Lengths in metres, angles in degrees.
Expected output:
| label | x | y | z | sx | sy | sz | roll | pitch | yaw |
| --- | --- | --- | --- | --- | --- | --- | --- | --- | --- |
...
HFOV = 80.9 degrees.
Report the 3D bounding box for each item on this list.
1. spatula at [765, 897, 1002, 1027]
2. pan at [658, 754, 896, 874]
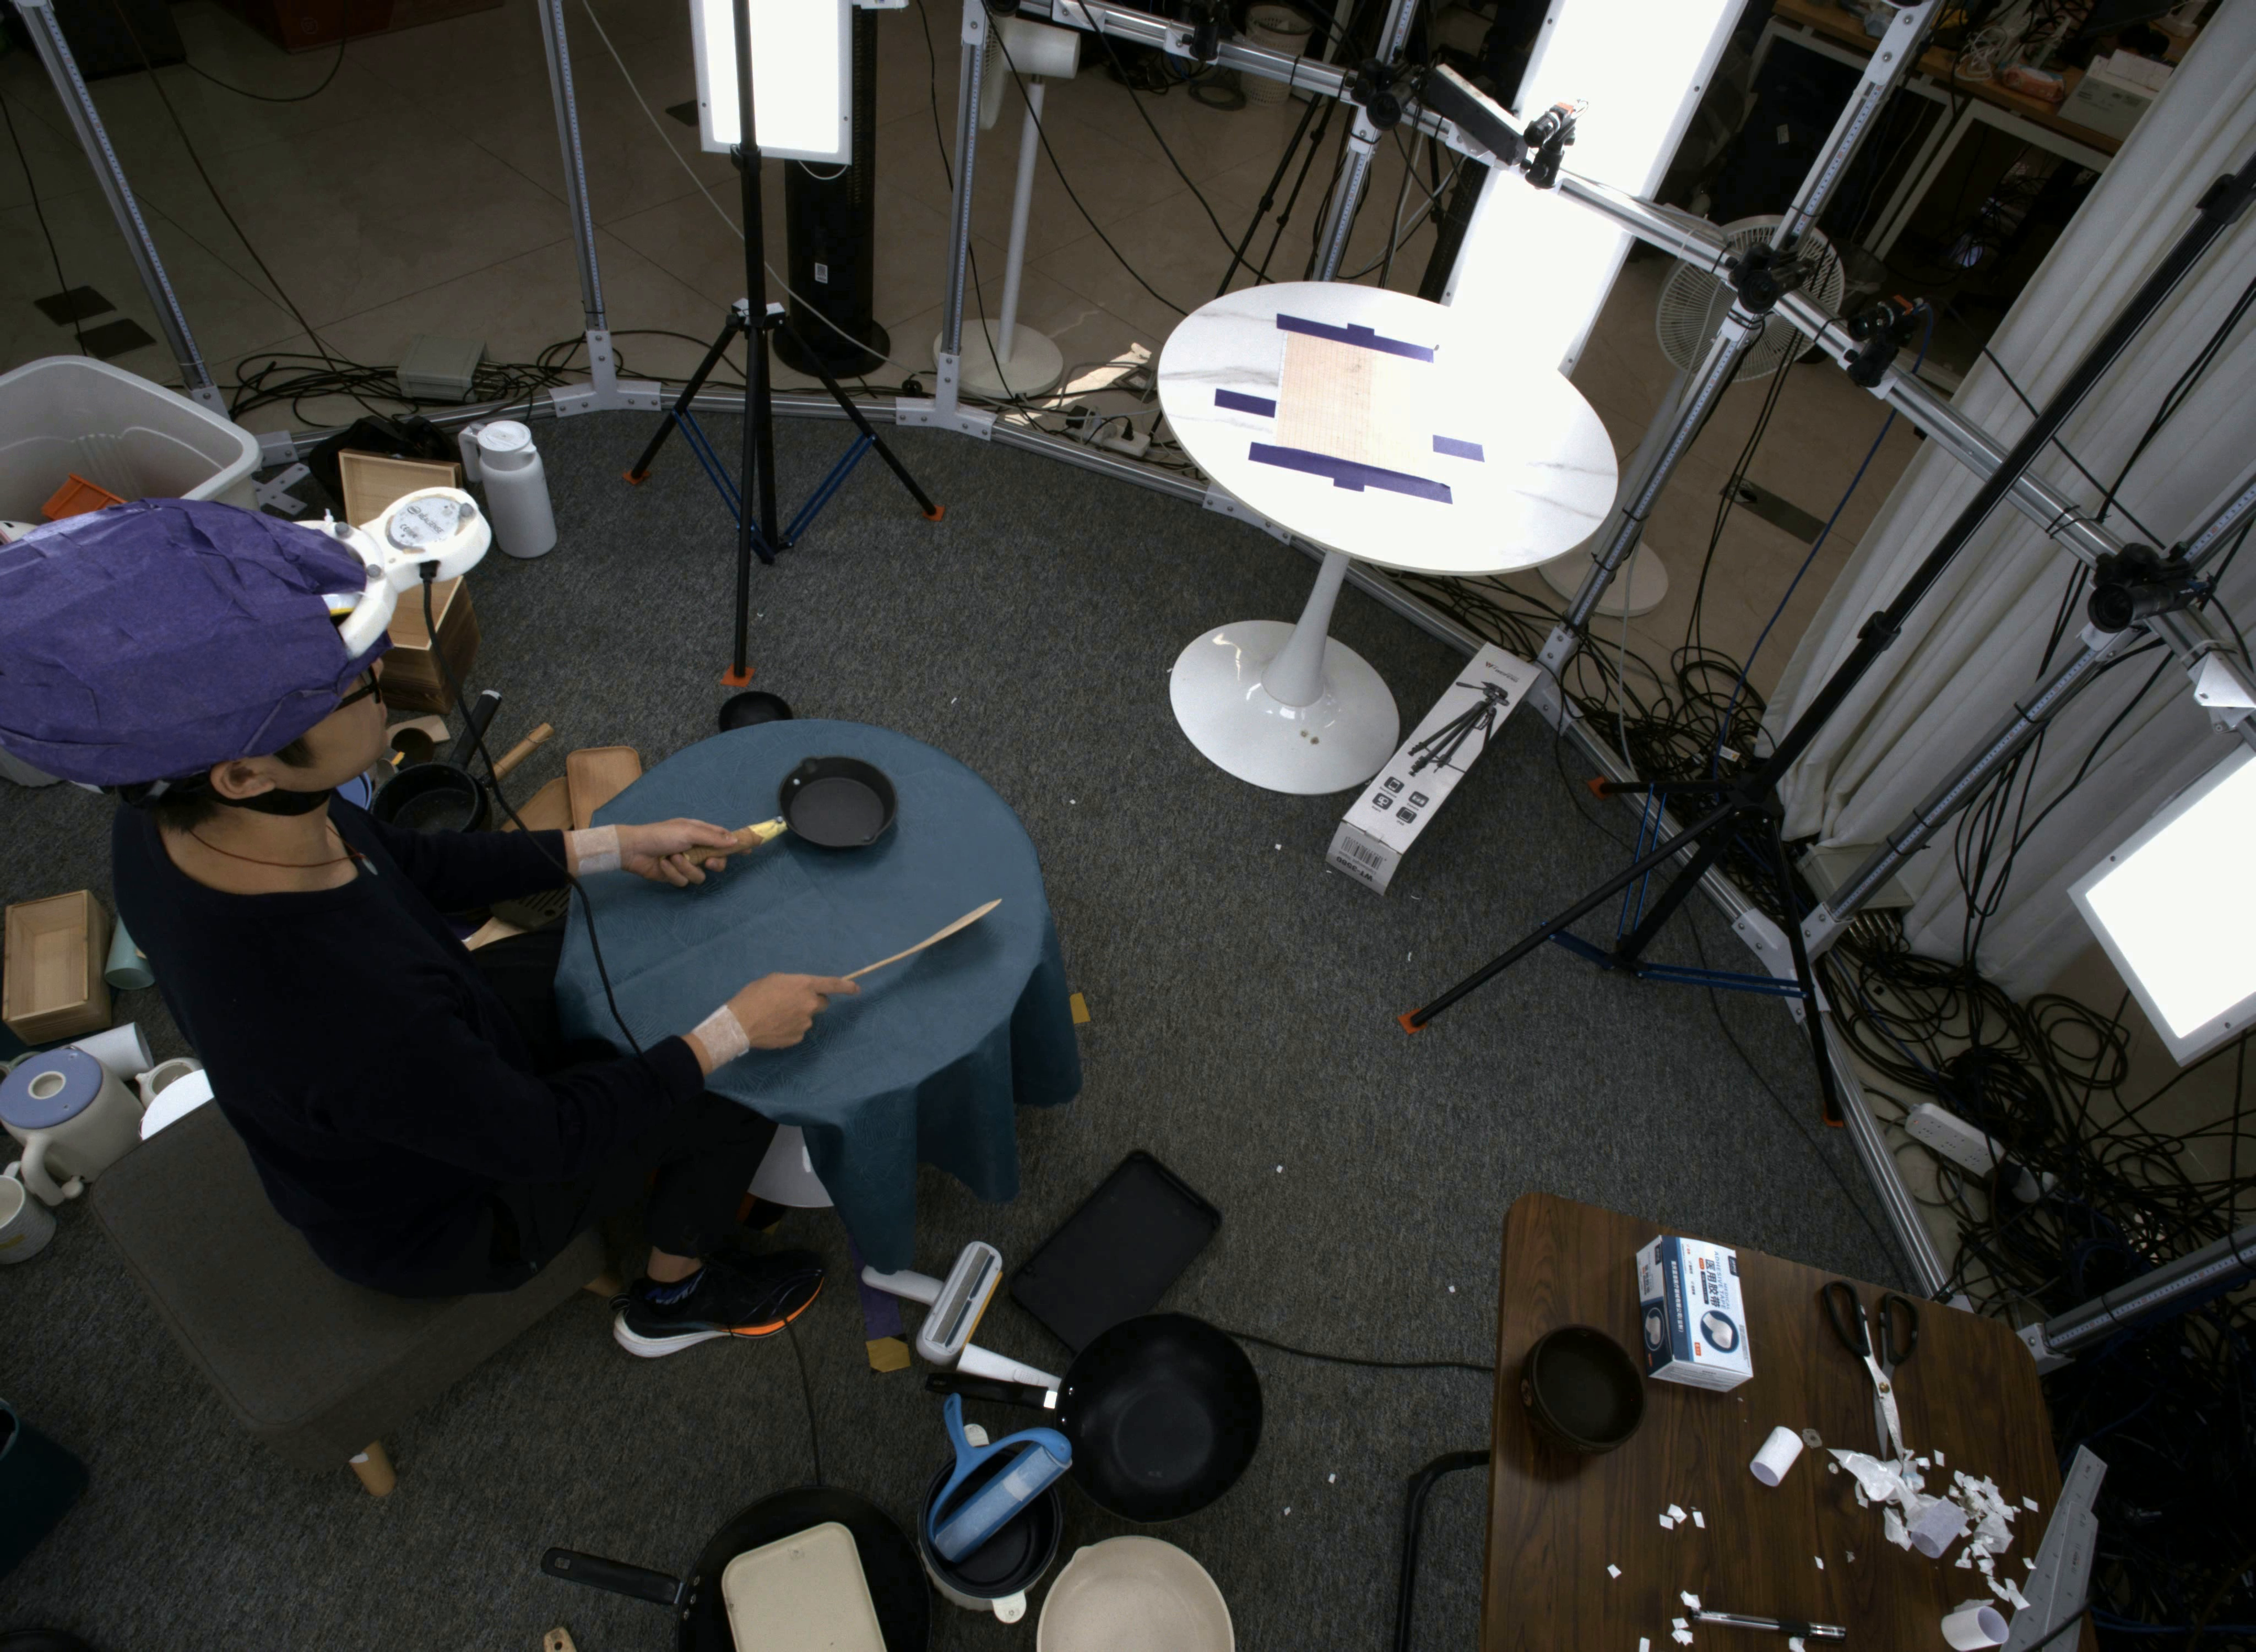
| label | x | y | z | sx | sy | sz | roll | pitch | yaw |
| --- | --- | --- | --- | --- | --- | --- | --- | --- | --- |
| spatula | -0.295 | 0.162 | 1.578 | 0.329 | 0.078 | 0.017 | -26 | 91 | -33 |
| pan | -0.452 | -0.002 | 1.670 | 0.326 | 0.050 | 0.165 | -24 | 62 | -32 |
